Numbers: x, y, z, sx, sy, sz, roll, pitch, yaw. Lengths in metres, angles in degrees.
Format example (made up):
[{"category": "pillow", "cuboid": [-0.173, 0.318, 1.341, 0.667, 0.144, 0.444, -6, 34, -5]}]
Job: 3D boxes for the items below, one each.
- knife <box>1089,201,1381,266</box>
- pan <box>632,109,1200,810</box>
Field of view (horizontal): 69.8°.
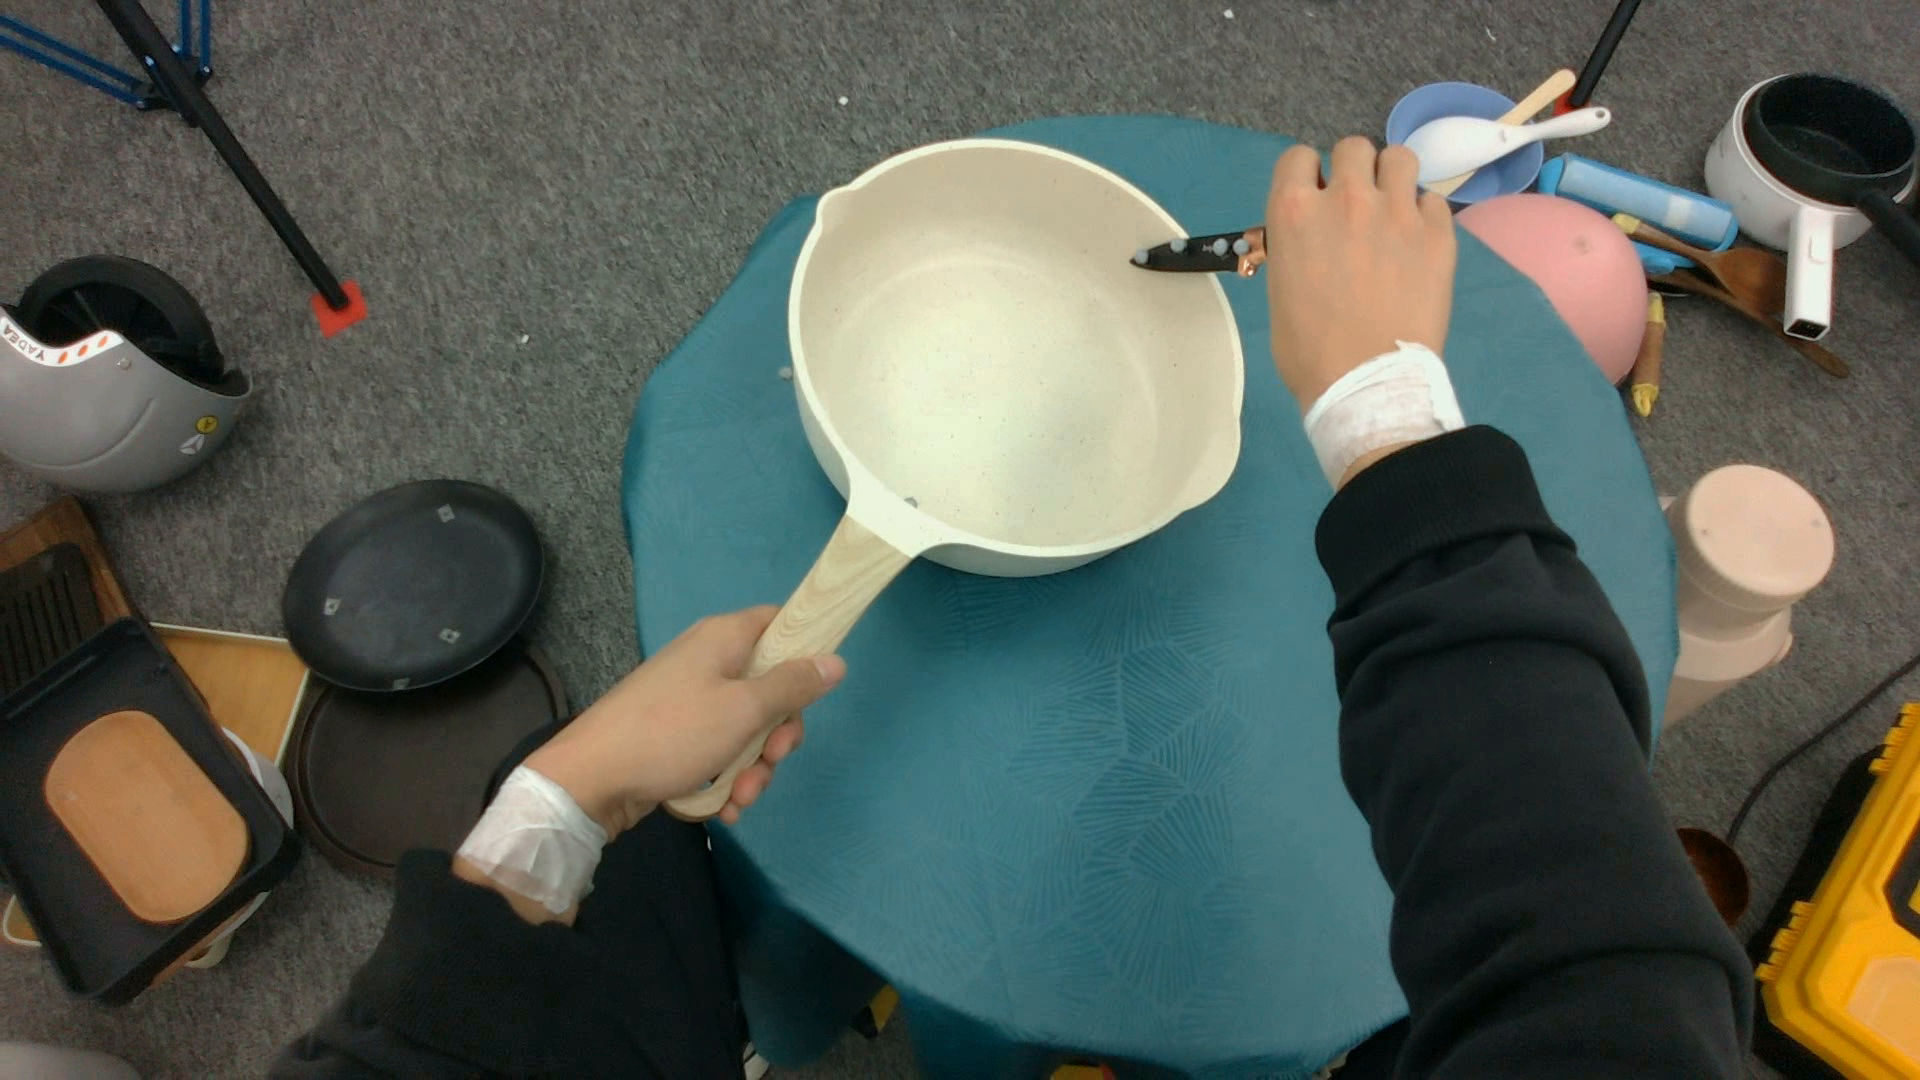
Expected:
[{"category": "knife", "cuboid": [0.134, -0.160, 0.725, 0.017, 0.225, 0.026, 1, 97, -30]}, {"category": "pan", "cuboid": [-0.041, -0.042, 0.718, 0.263, 0.101, 0.437, 34, 64, -3]}]
